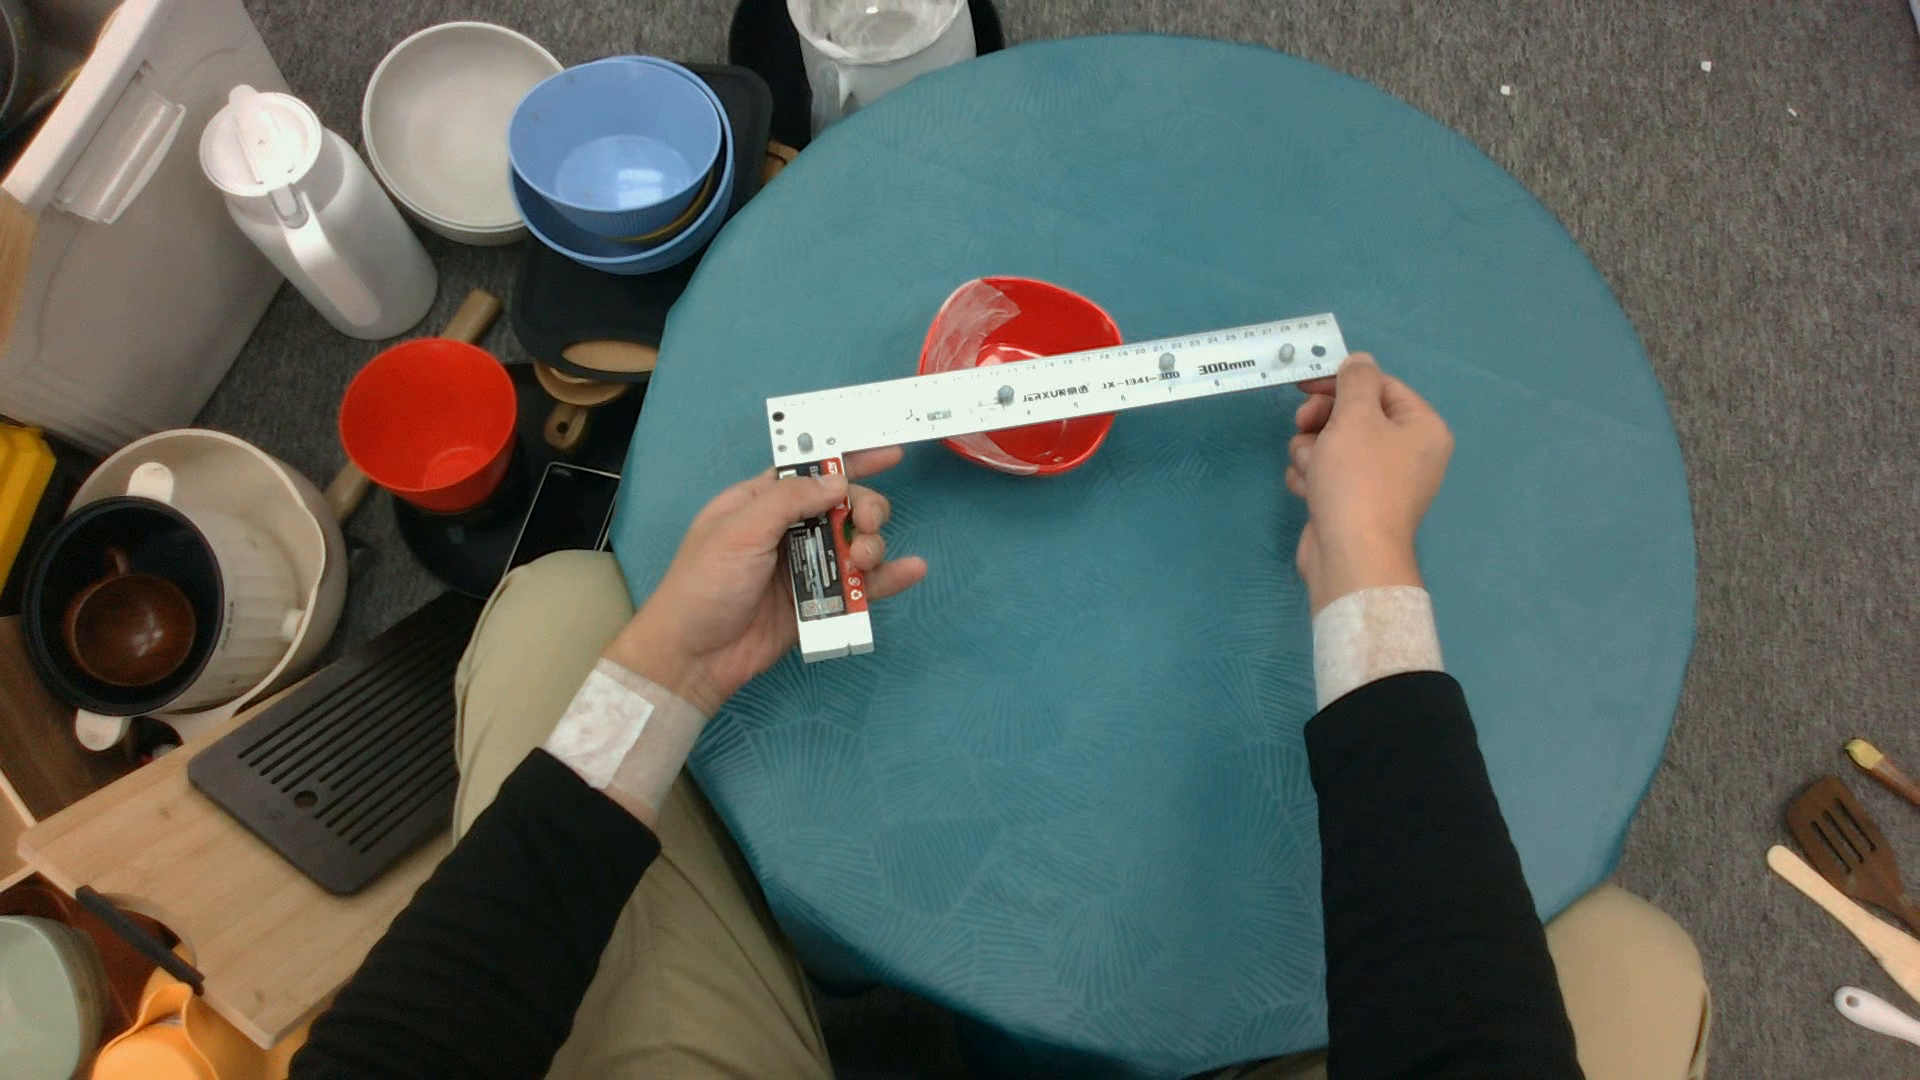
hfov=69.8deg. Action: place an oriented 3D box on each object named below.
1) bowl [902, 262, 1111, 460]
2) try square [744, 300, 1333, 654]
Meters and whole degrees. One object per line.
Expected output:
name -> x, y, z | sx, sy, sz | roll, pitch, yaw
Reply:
bowl -> 0.023, -0.090, 0.756 | 0.119, 0.051, 0.119 | 2, 71, -5
try square -> 0.053, -0.039, 0.701 | 0.313, 0.016, 0.153 | -9, 64, -6
